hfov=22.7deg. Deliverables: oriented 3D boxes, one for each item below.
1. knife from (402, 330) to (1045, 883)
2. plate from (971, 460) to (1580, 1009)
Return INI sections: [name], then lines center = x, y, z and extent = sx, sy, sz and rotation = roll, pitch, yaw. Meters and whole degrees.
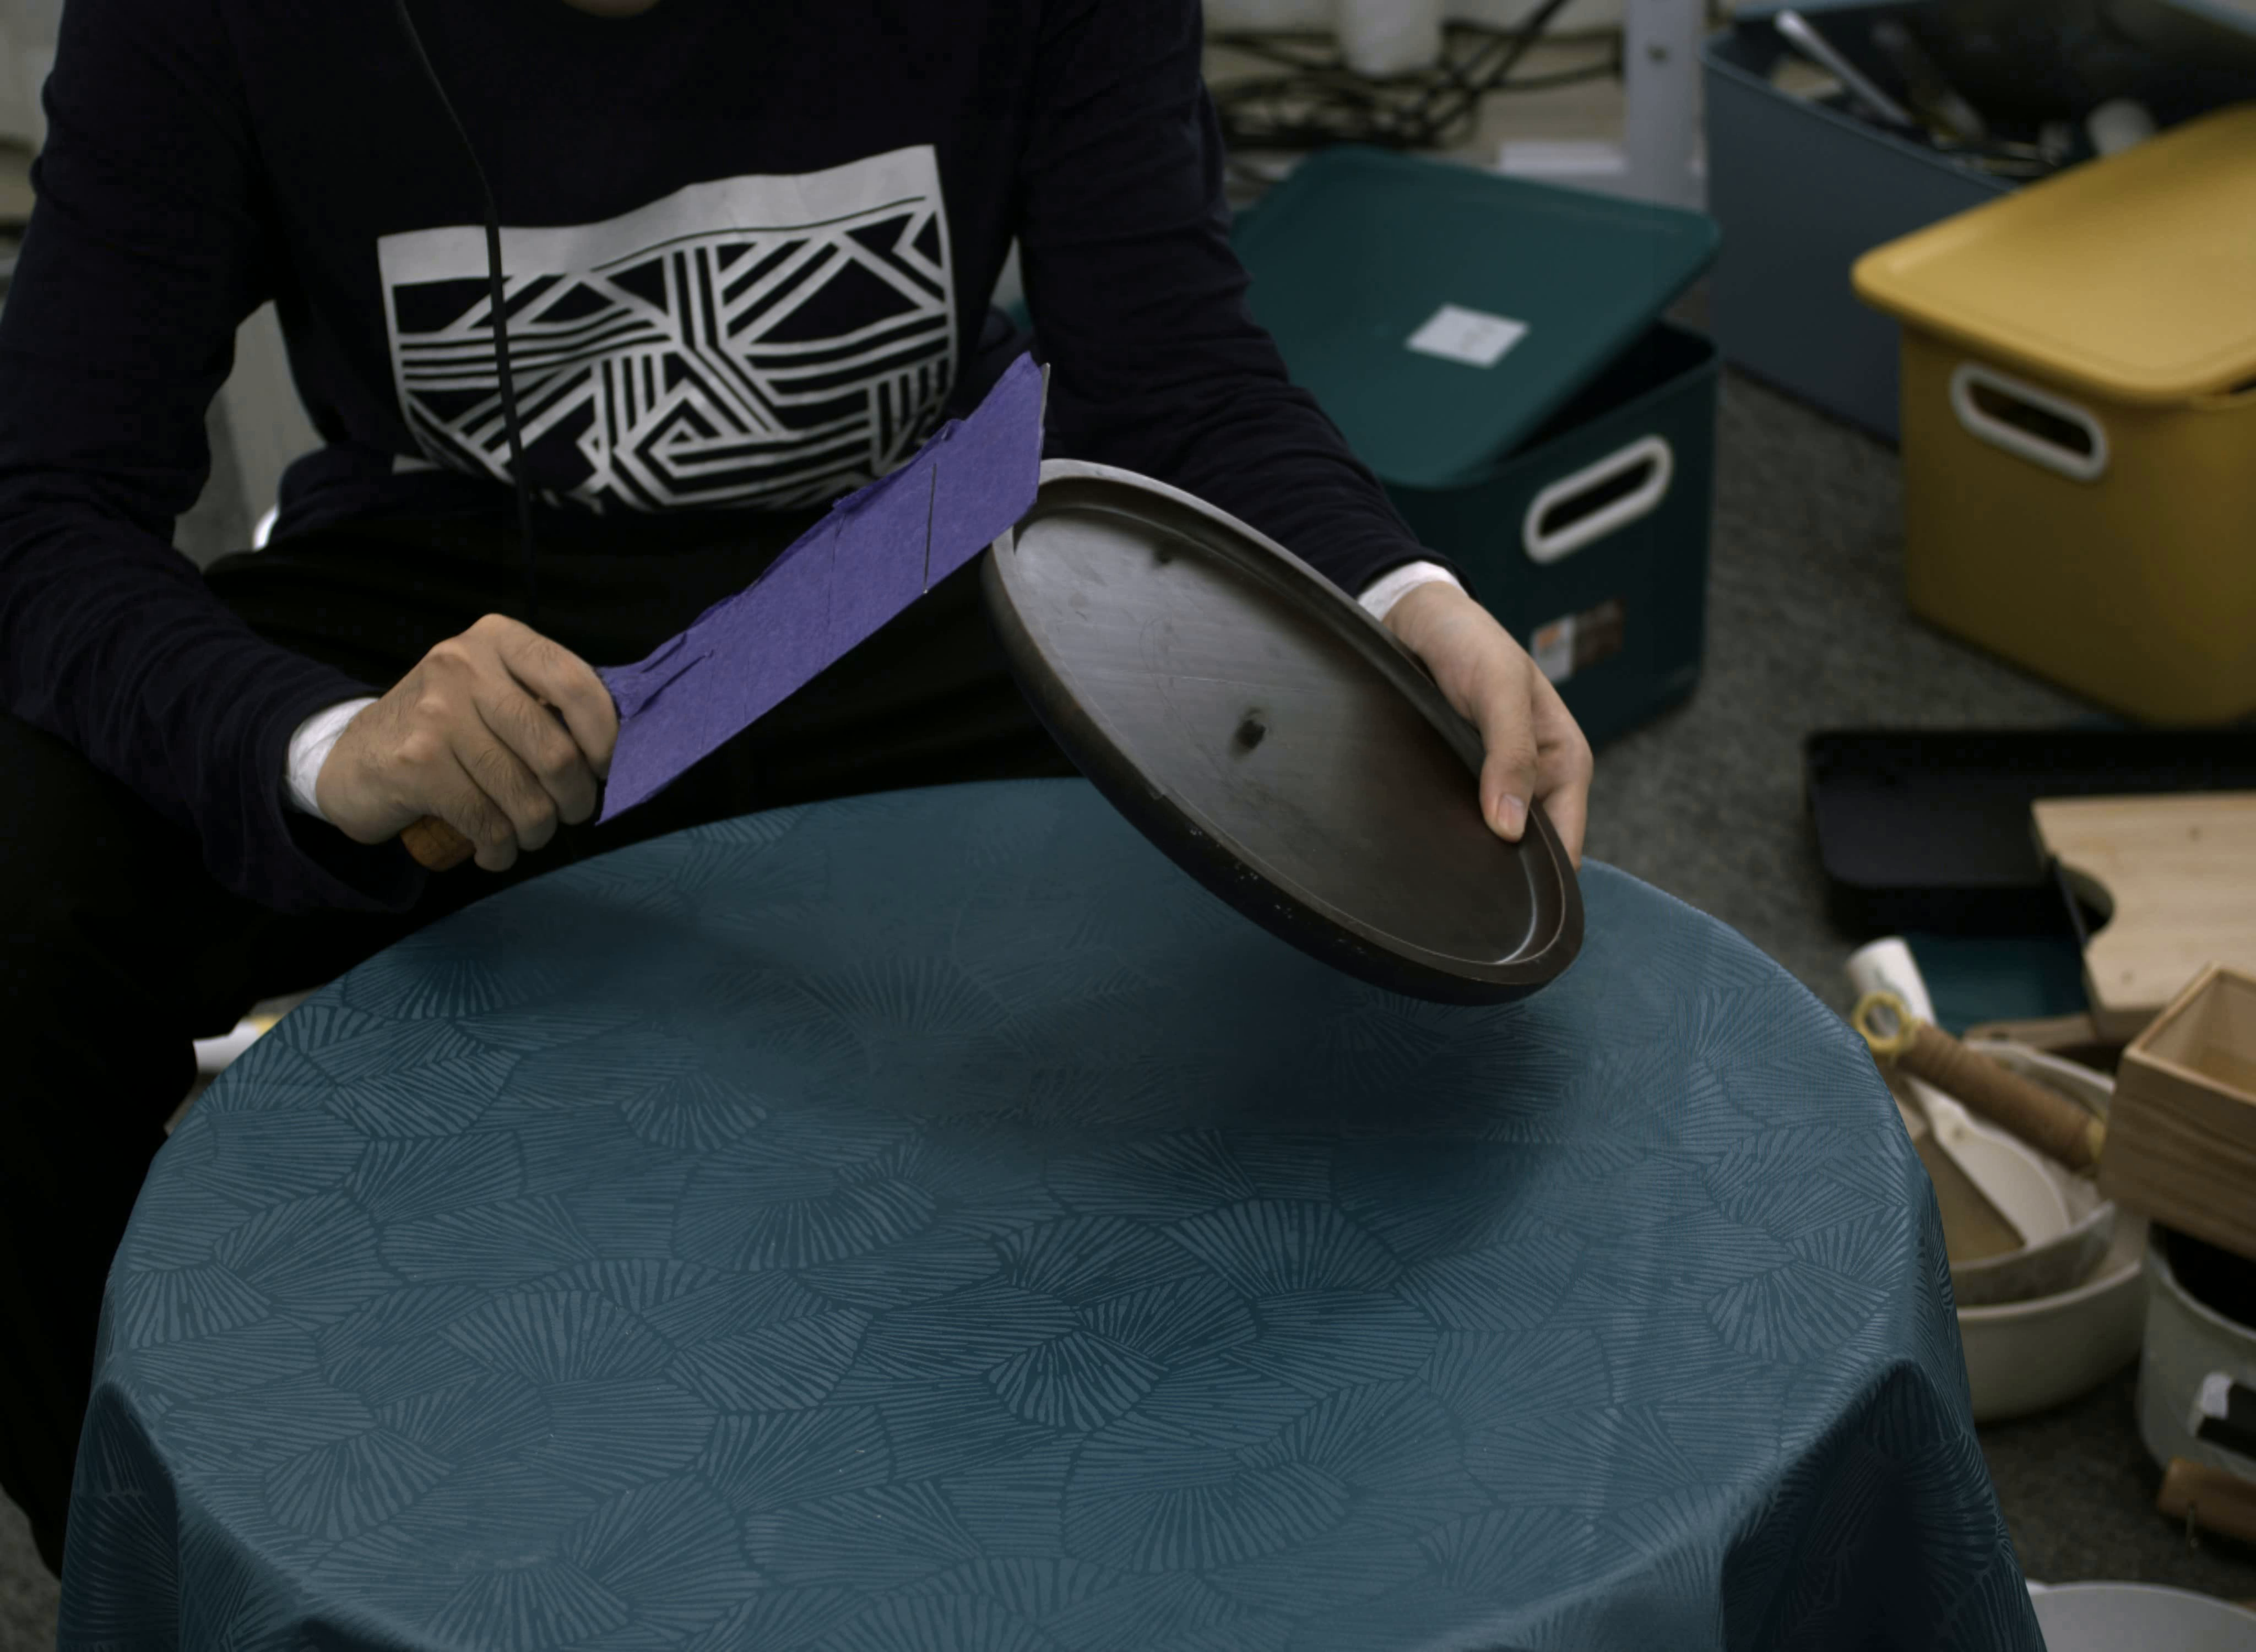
[knife]
center = -0.143, -0.056, 1.936
extent = 0.311, 0.032, 0.106
rotation = -38, 27, 26
[plate]
center = 0.049, -0.031, 1.898
extent = 0.254, 0.028, 0.259
rotation = 32, 25, -16
